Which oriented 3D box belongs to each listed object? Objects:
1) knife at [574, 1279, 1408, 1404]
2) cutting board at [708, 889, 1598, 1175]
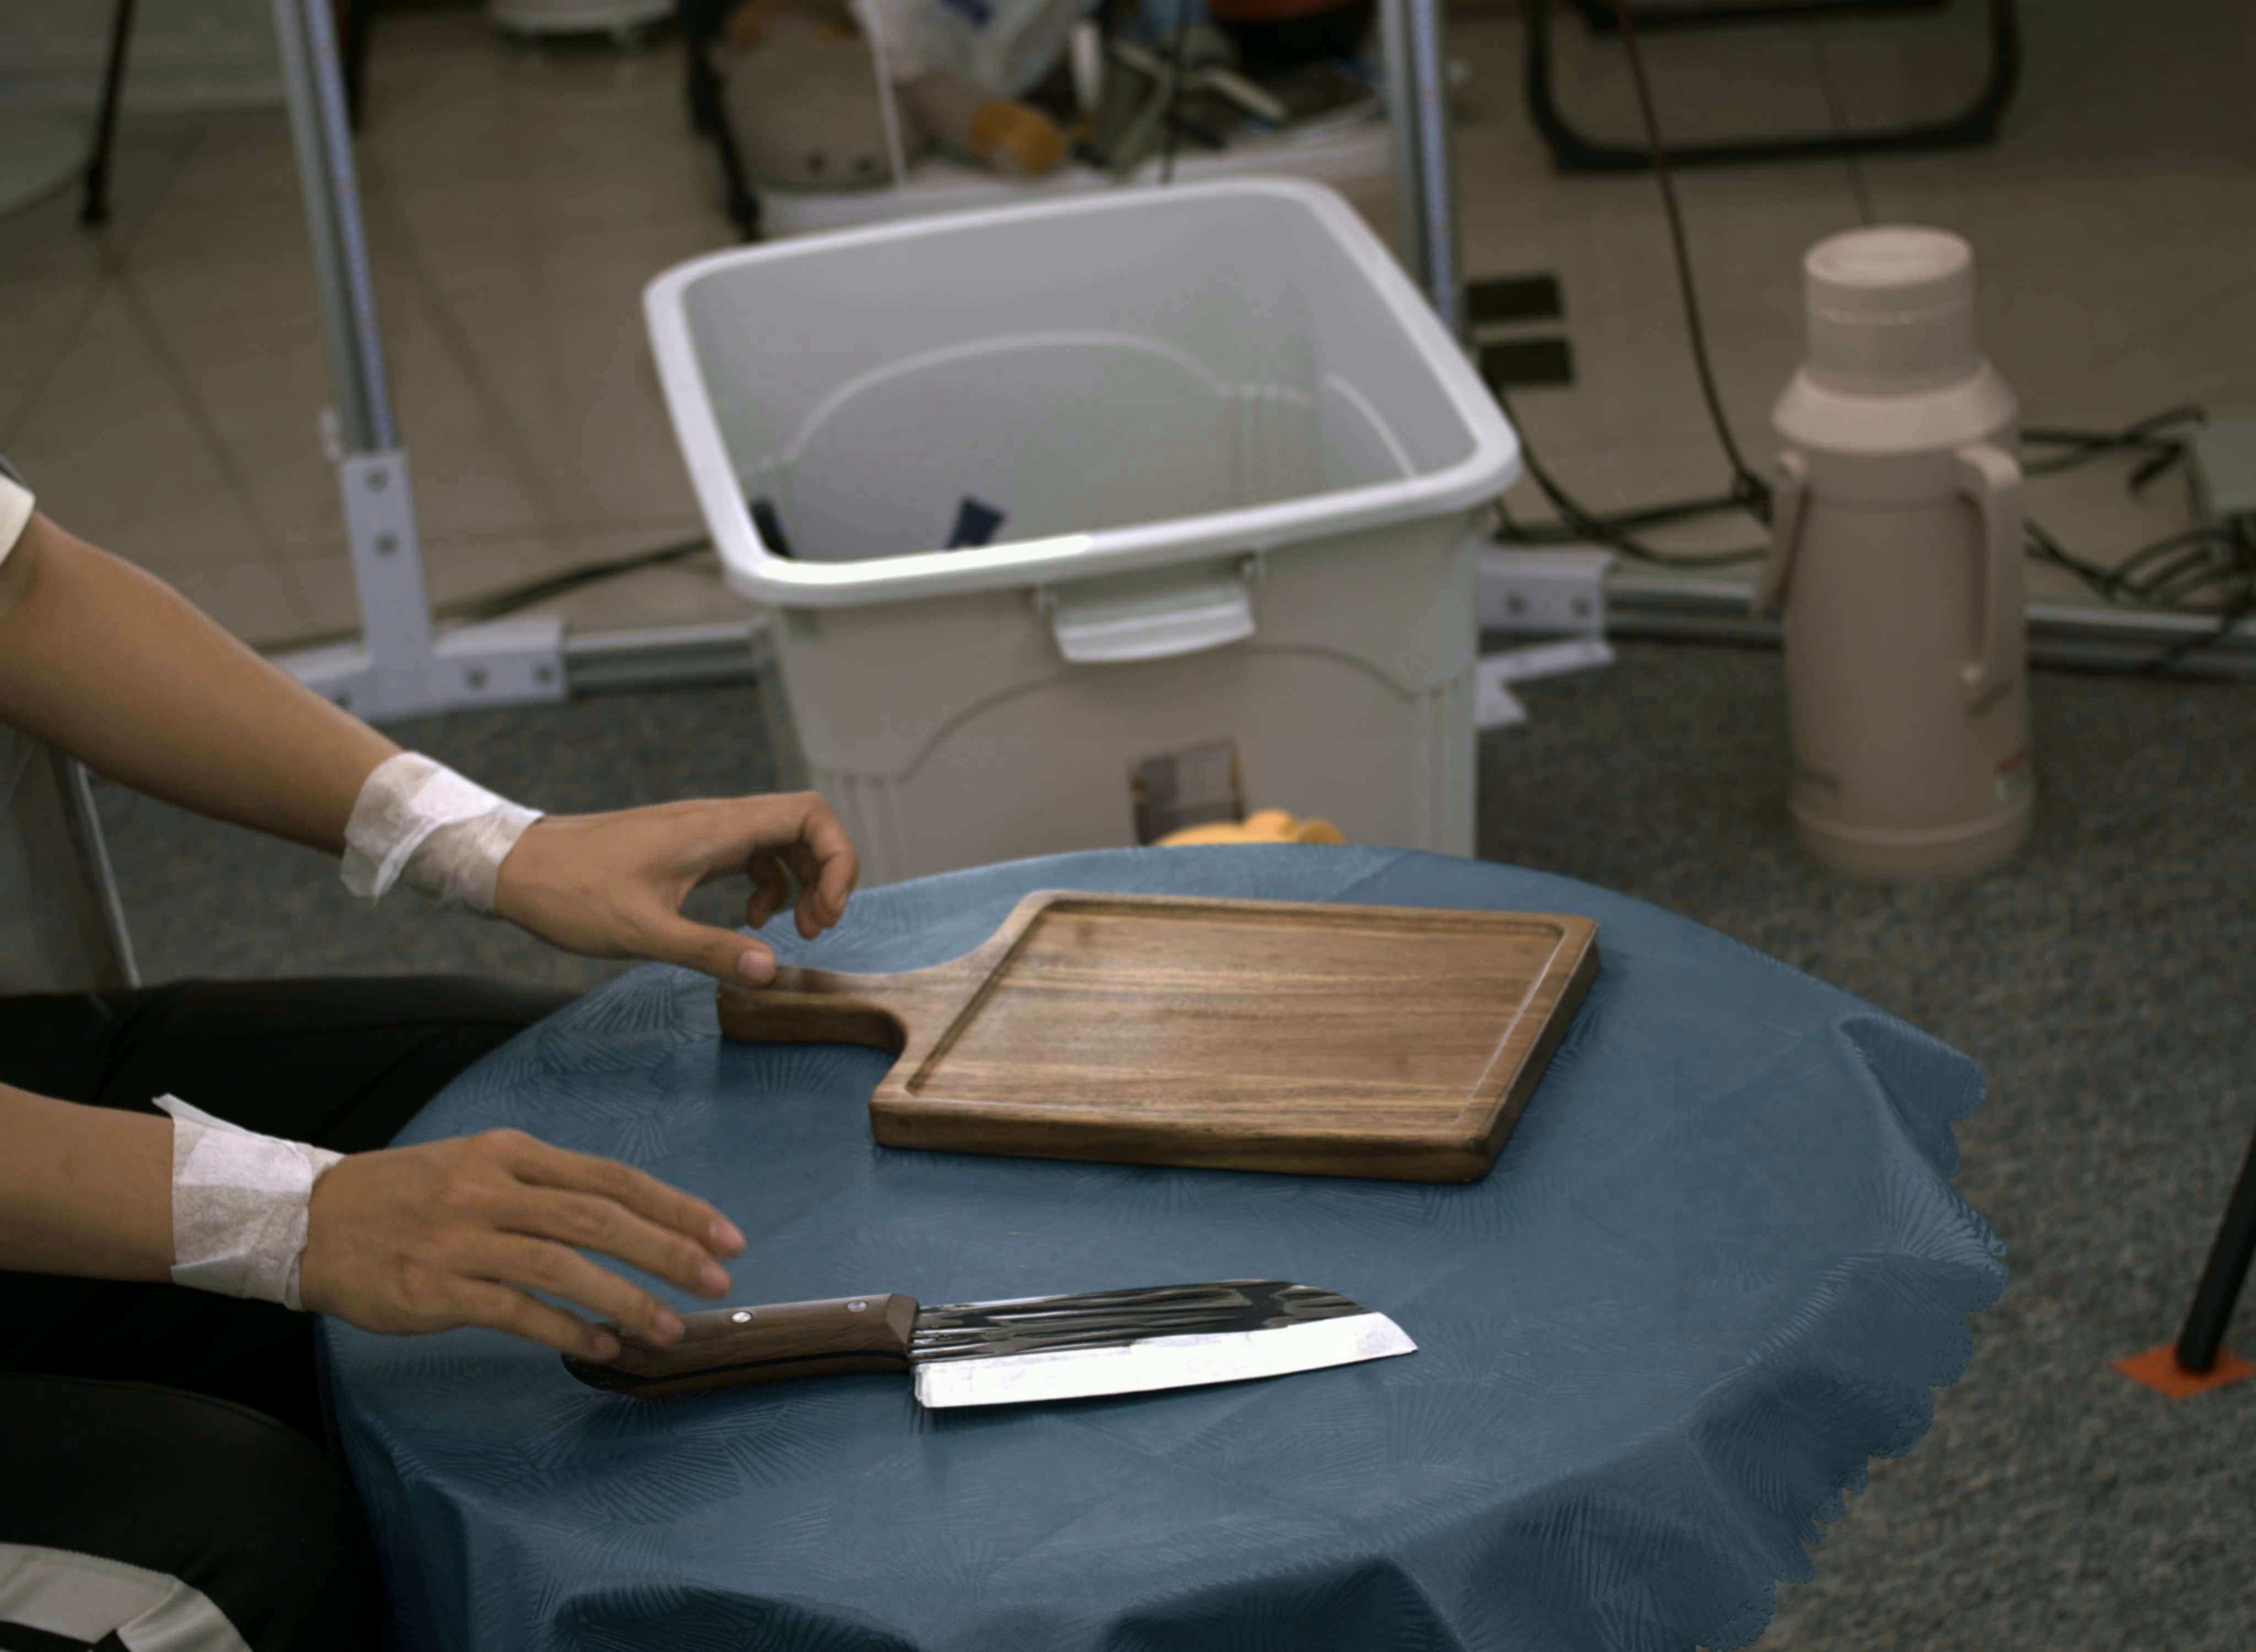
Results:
[{"bbox_3d":[-0.050,0.187,2.037,0.299,0.024,0.067,-4,27,-1],"label":"knife"},{"bbox_3d":[-0.002,0.077,2.259,0.351,0.023,0.198,2,26,19],"label":"cutting board"}]
